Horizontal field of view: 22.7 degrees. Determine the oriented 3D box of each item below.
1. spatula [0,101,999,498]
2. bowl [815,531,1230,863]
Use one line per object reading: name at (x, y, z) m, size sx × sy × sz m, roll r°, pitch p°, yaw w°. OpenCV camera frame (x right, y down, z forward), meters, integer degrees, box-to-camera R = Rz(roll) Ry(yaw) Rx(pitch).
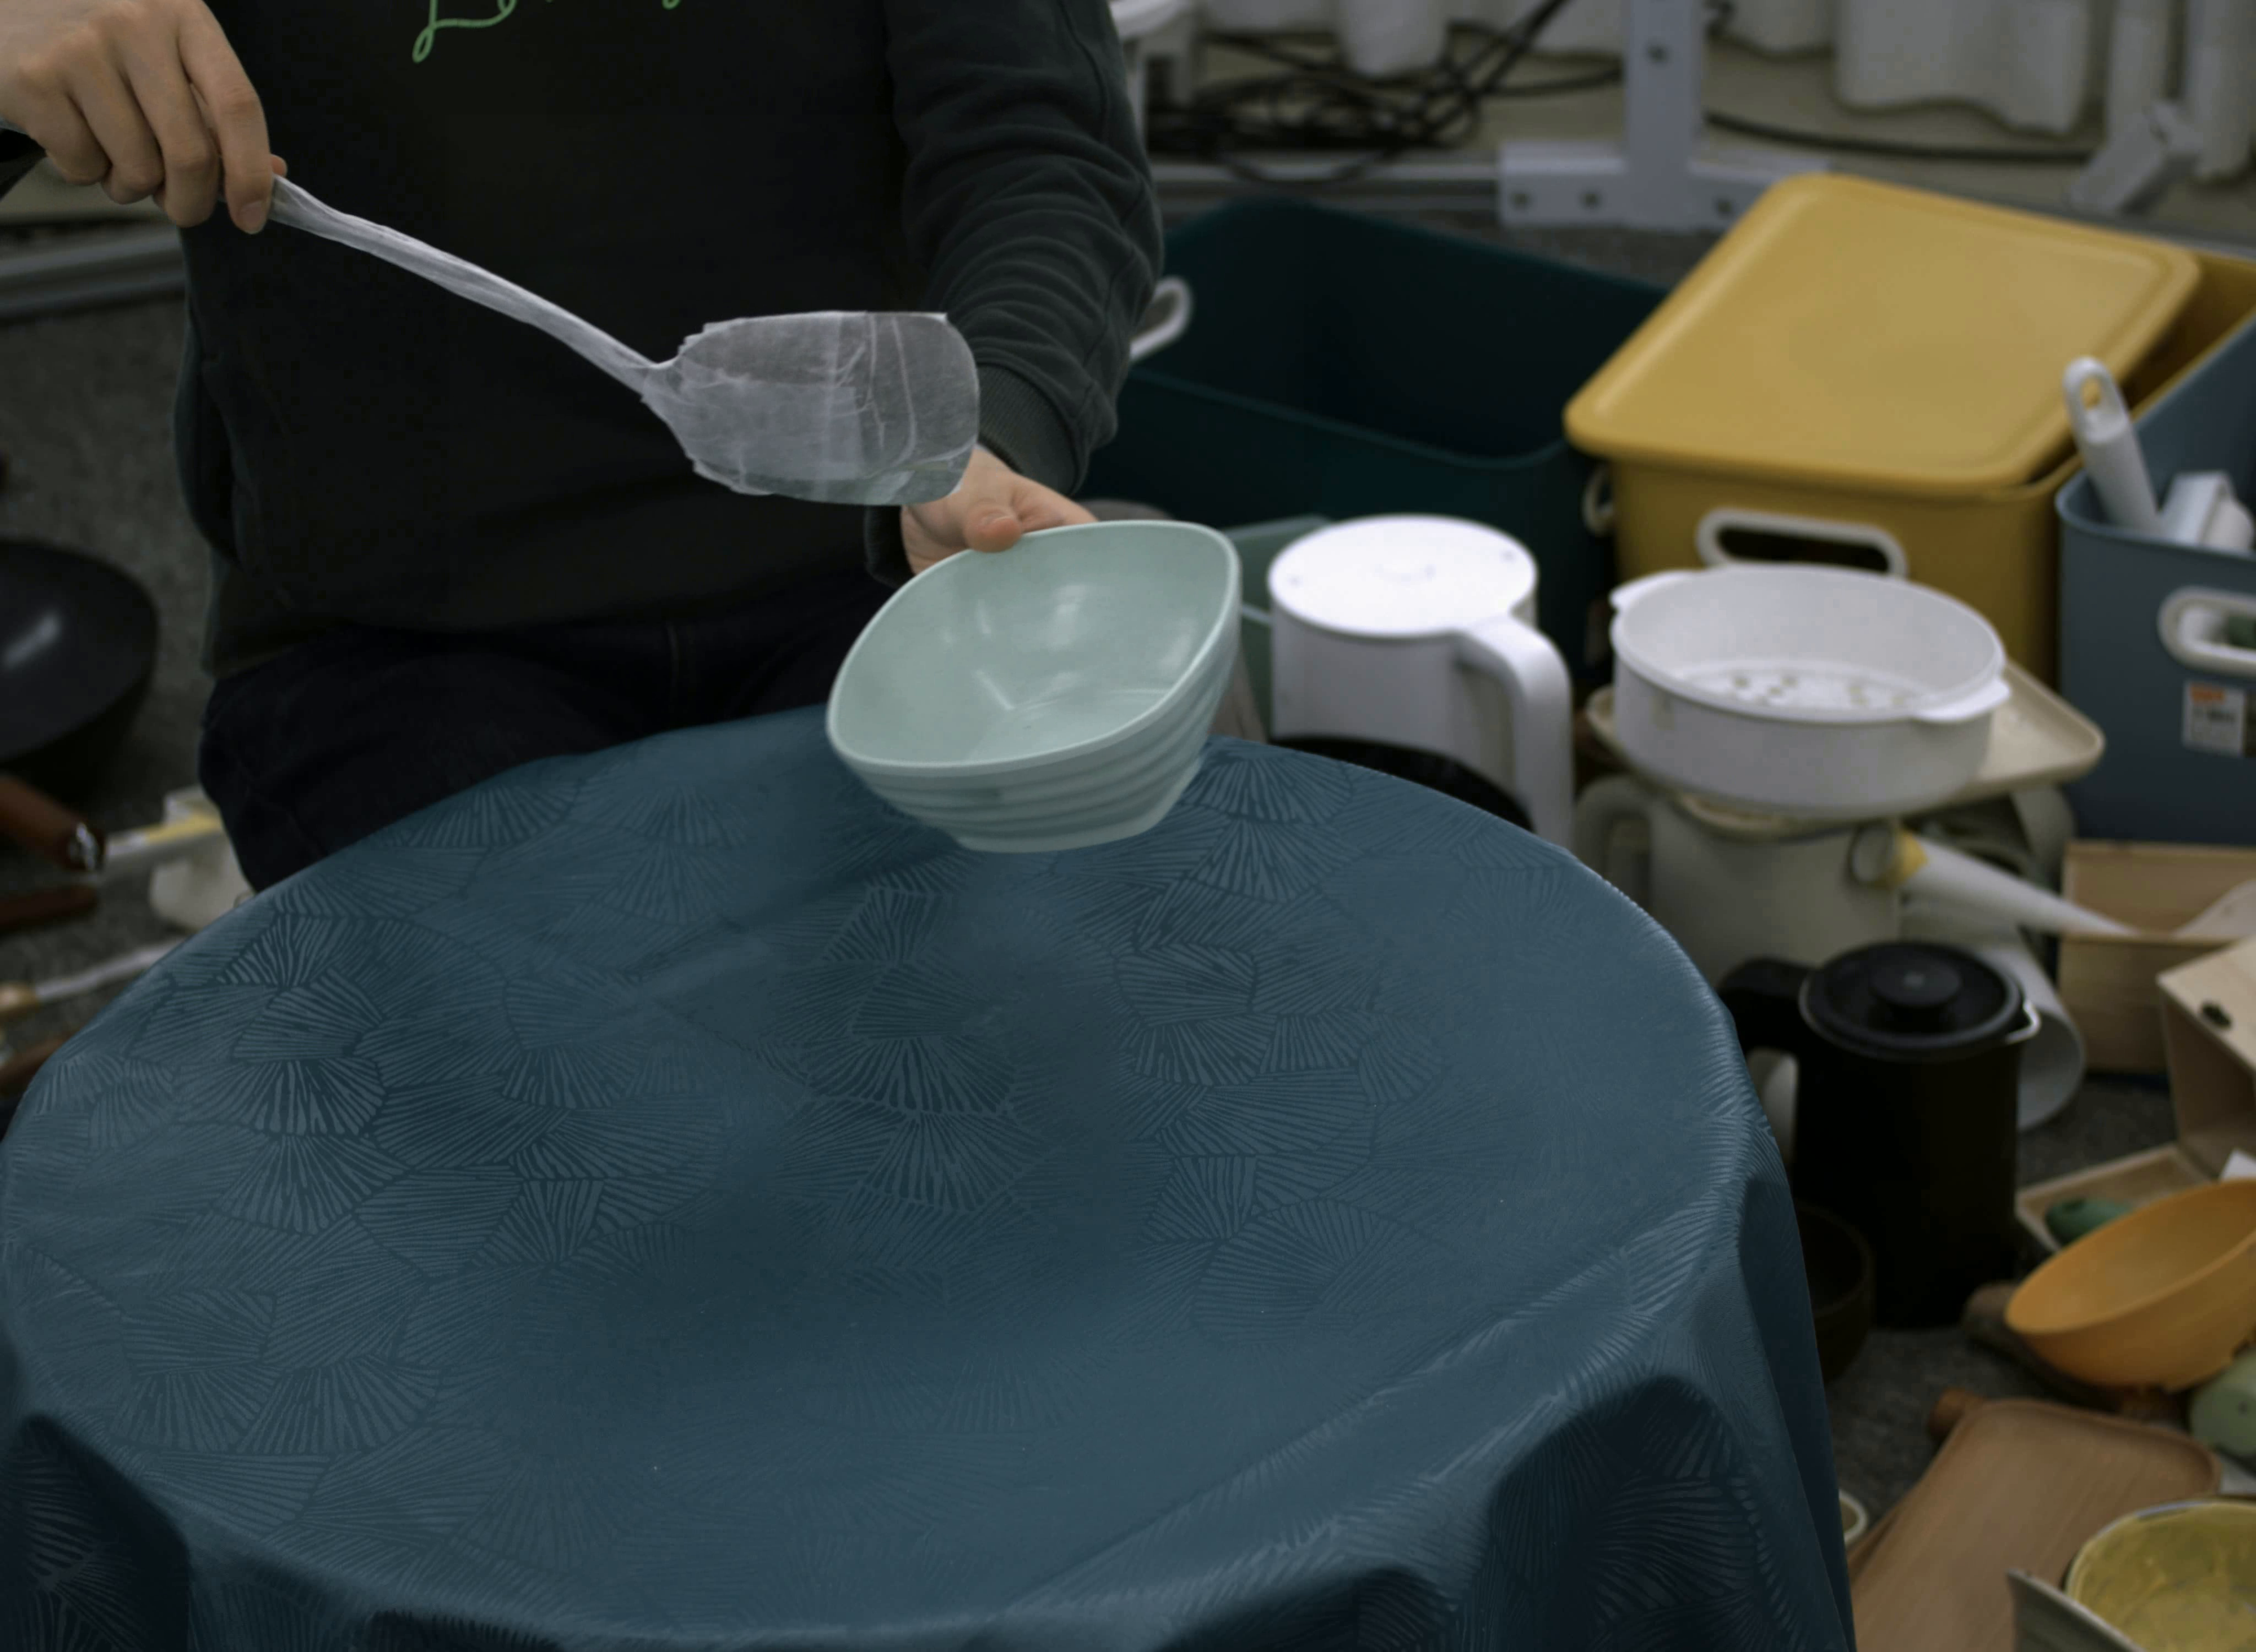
spatula at (-0.216, -0.184, 1.846) m, size 0.364 × 0.097 × 0.045 m, roll 22°, pitch 56°, yaw 11°
bowl at (-0.028, -0.036, 1.884) m, size 0.150 × 0.058 × 0.154 m, roll -13°, pitch 33°, yaw 9°
